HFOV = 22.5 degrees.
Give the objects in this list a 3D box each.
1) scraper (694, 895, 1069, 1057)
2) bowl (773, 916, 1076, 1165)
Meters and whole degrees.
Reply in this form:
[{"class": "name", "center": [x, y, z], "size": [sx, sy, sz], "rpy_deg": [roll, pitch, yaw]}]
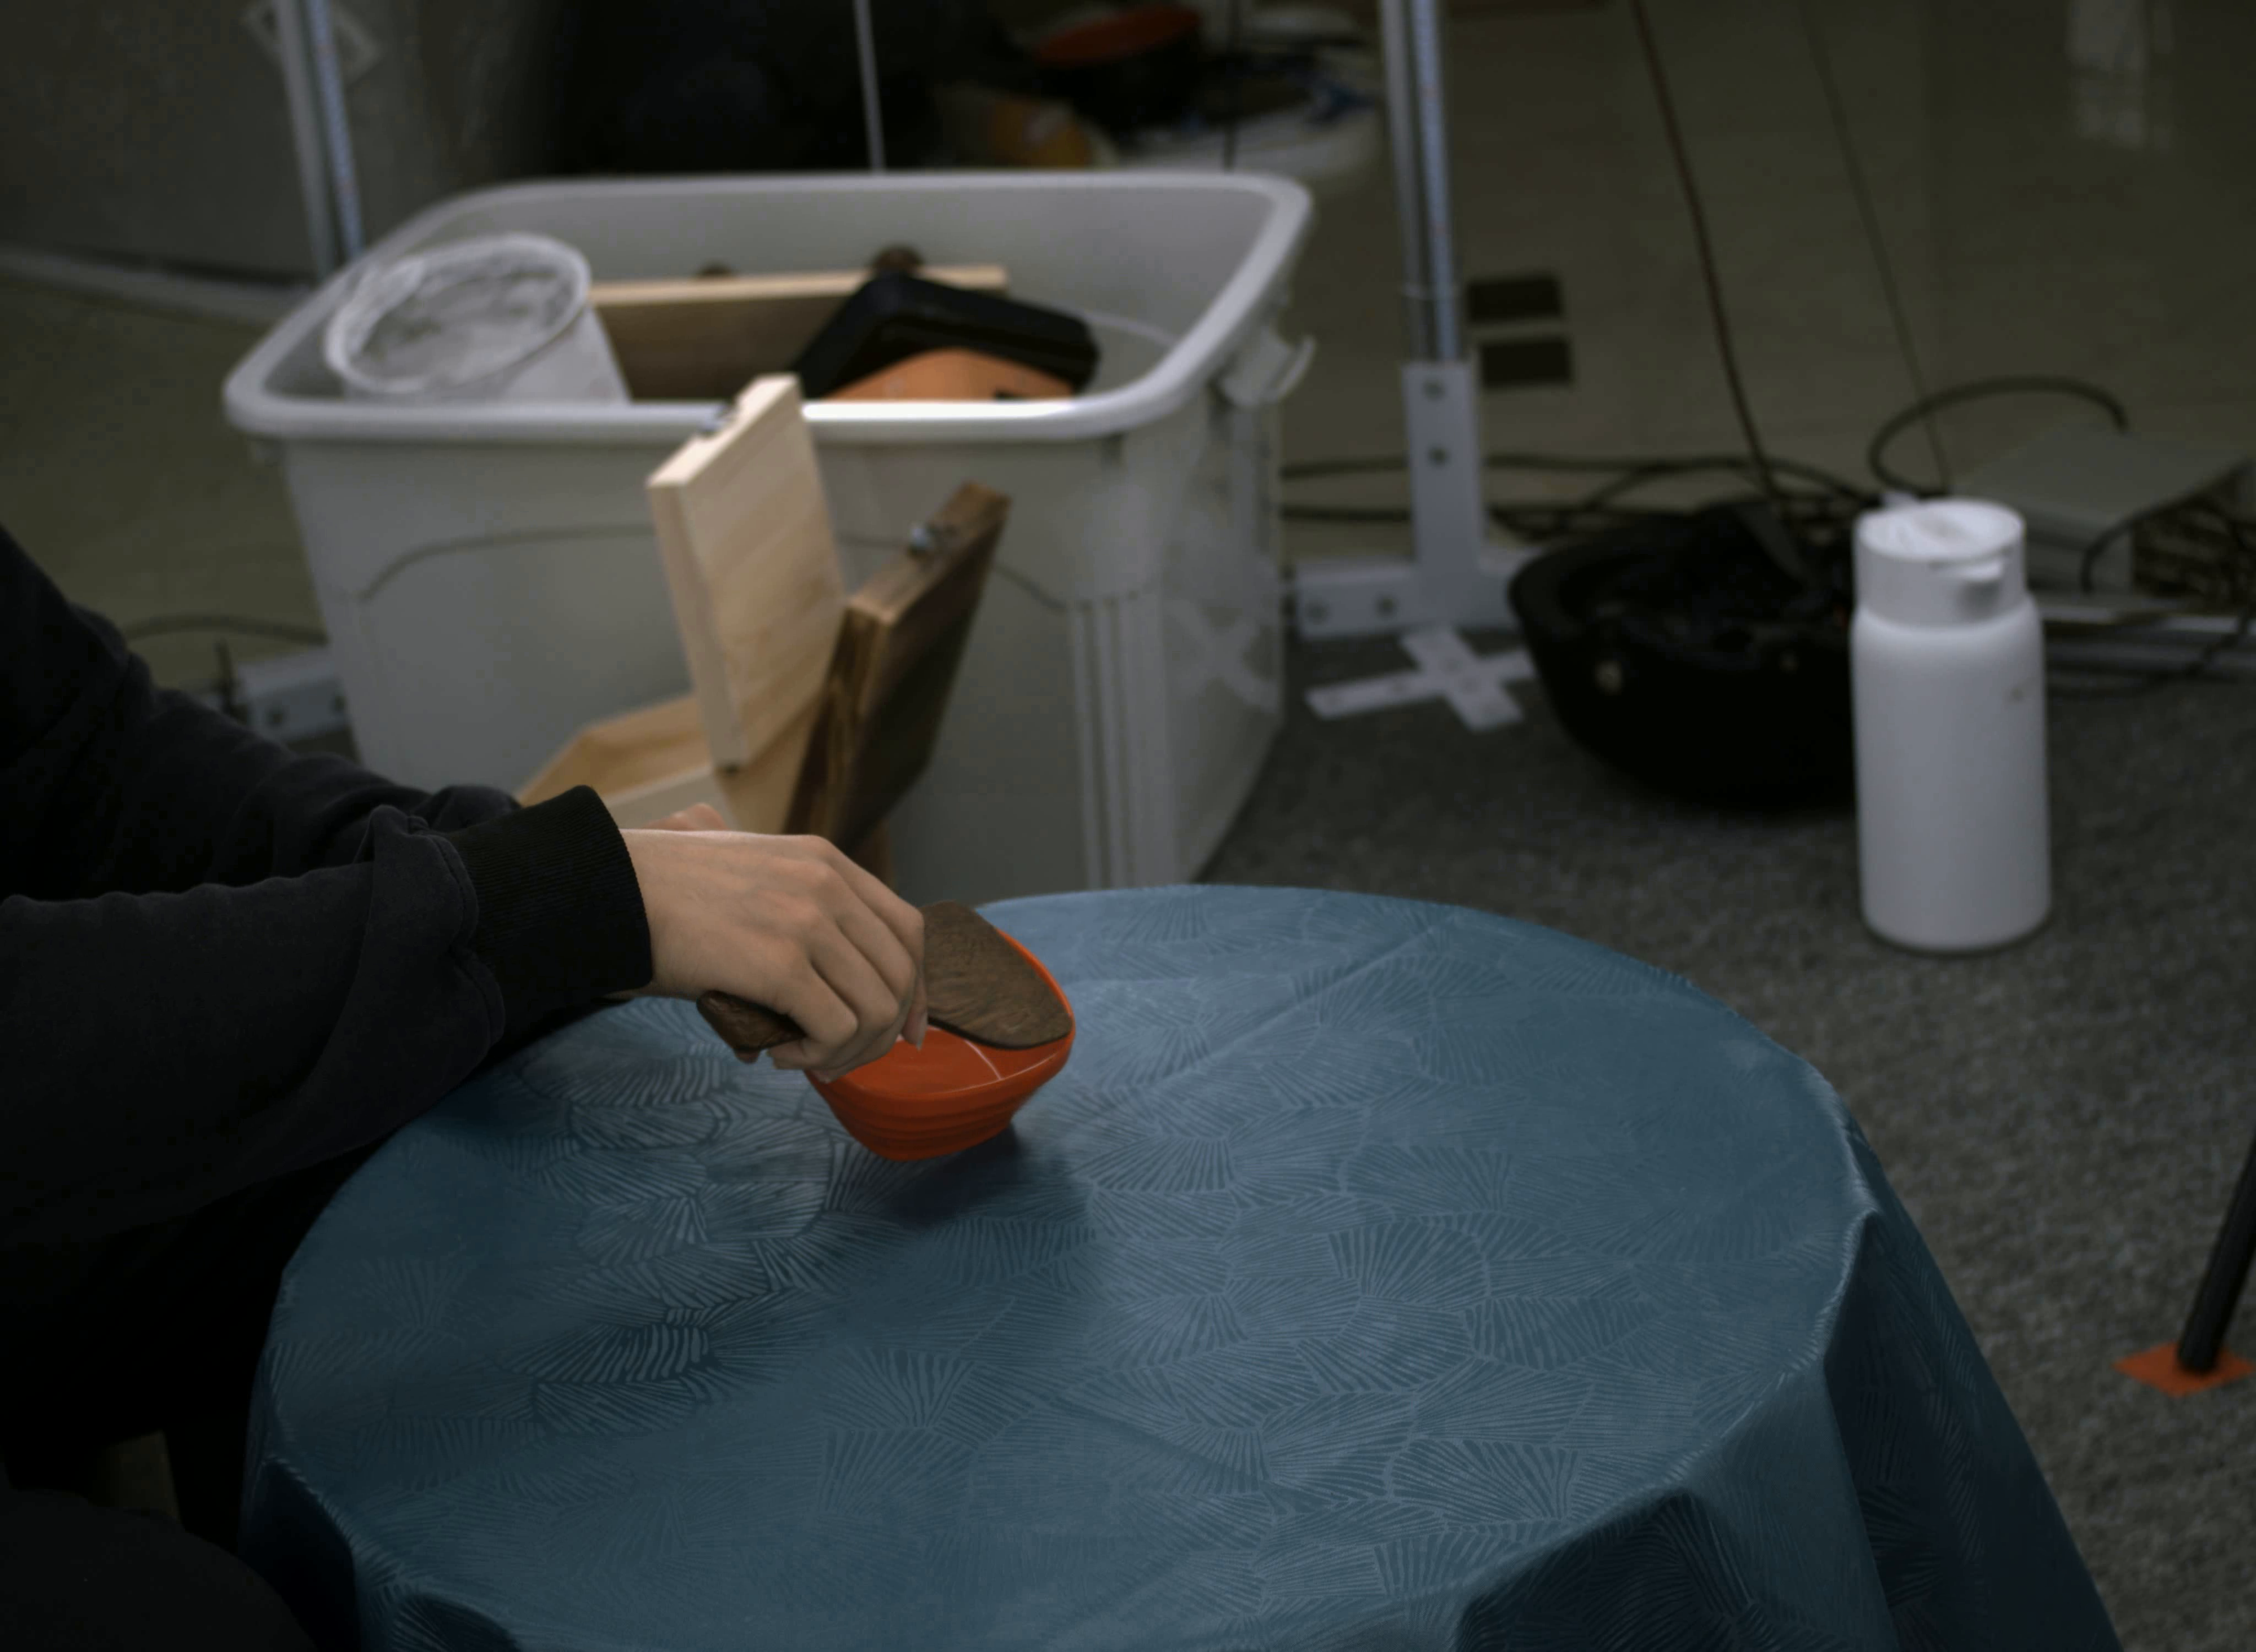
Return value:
[{"class": "scraper", "center": [-0.095, 0.063, 2.095], "size": [0.075, 0.011, 0.211], "rpy_deg": [53, 26, 16]}, {"class": "bowl", "center": [-0.081, 0.089, 2.201], "size": [0.119, 0.052, 0.117], "rpy_deg": [5, 38, -4]}]
